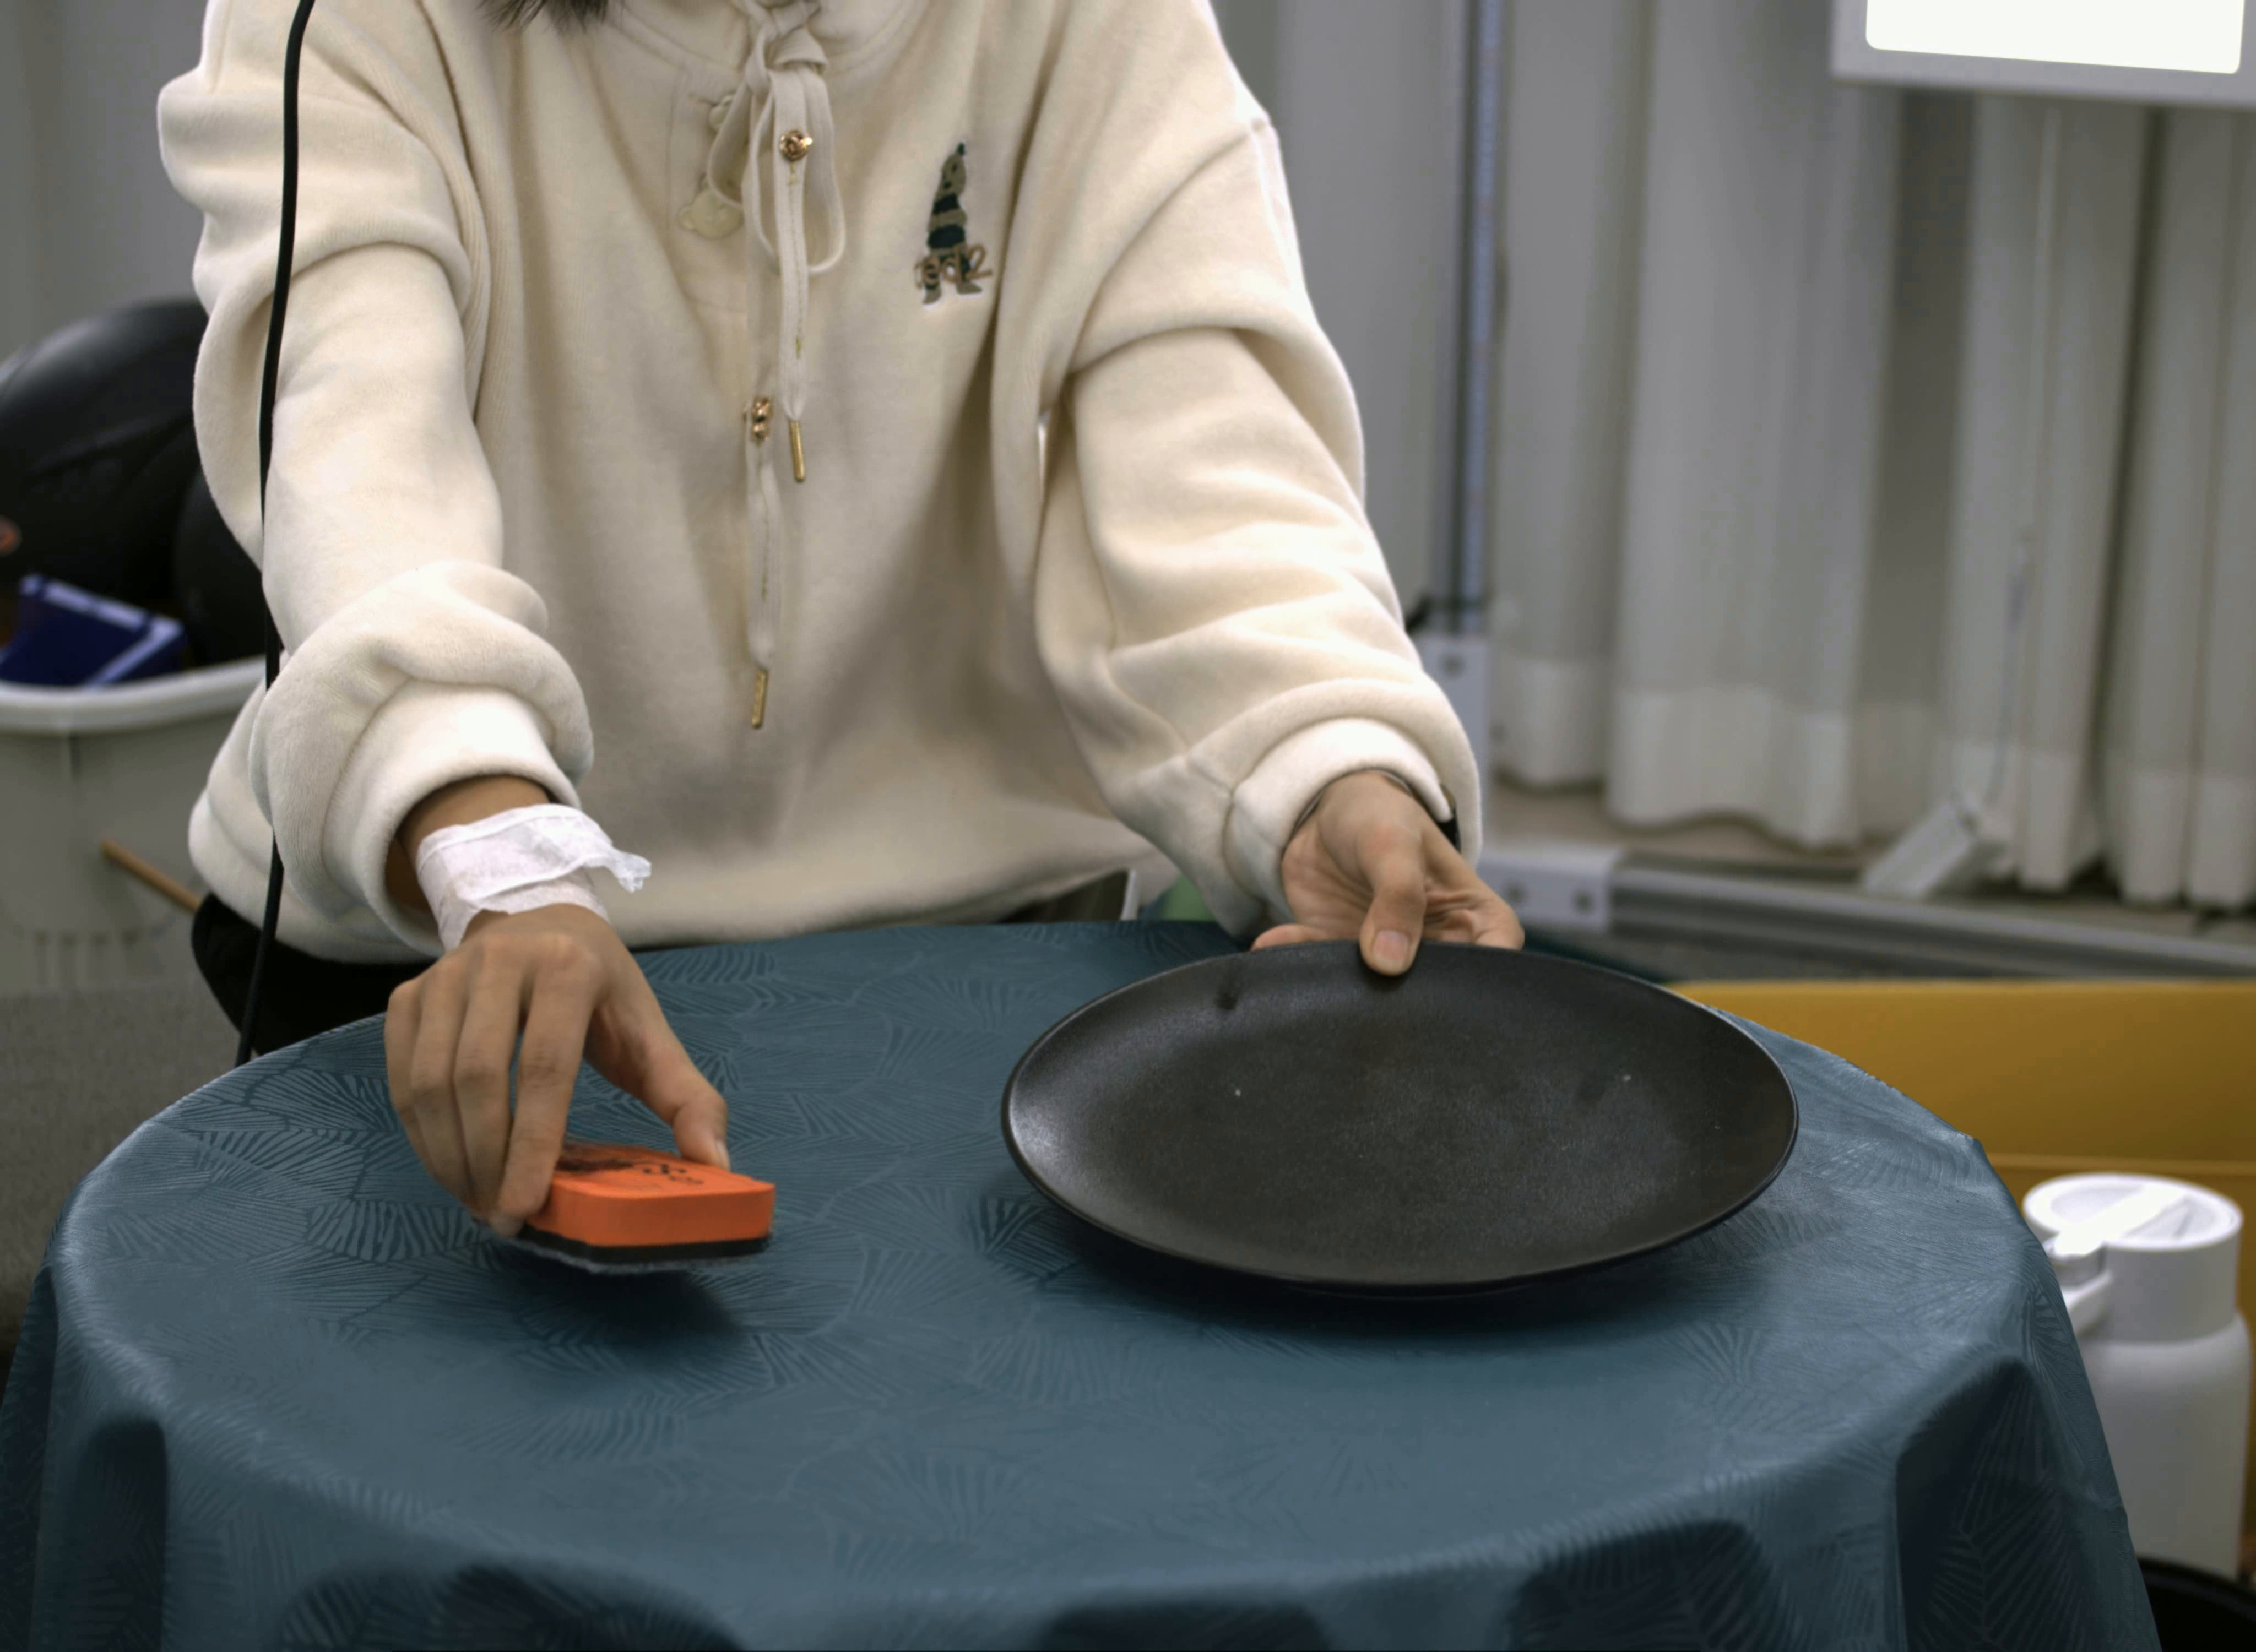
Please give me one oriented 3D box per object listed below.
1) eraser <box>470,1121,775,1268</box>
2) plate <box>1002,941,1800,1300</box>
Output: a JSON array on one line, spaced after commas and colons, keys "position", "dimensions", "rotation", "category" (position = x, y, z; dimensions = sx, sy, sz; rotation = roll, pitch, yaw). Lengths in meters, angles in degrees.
[{"position": [-0.148, 0.106, 1.530], "dimensions": [0.059, 0.023, 0.107], "rotation": [-3, 8, -29], "category": "eraser"}, {"position": [0.083, 0.092, 1.609], "dimensions": [0.243, 0.023, 0.242], "rotation": [0, 23, 1], "category": "plate"}]
